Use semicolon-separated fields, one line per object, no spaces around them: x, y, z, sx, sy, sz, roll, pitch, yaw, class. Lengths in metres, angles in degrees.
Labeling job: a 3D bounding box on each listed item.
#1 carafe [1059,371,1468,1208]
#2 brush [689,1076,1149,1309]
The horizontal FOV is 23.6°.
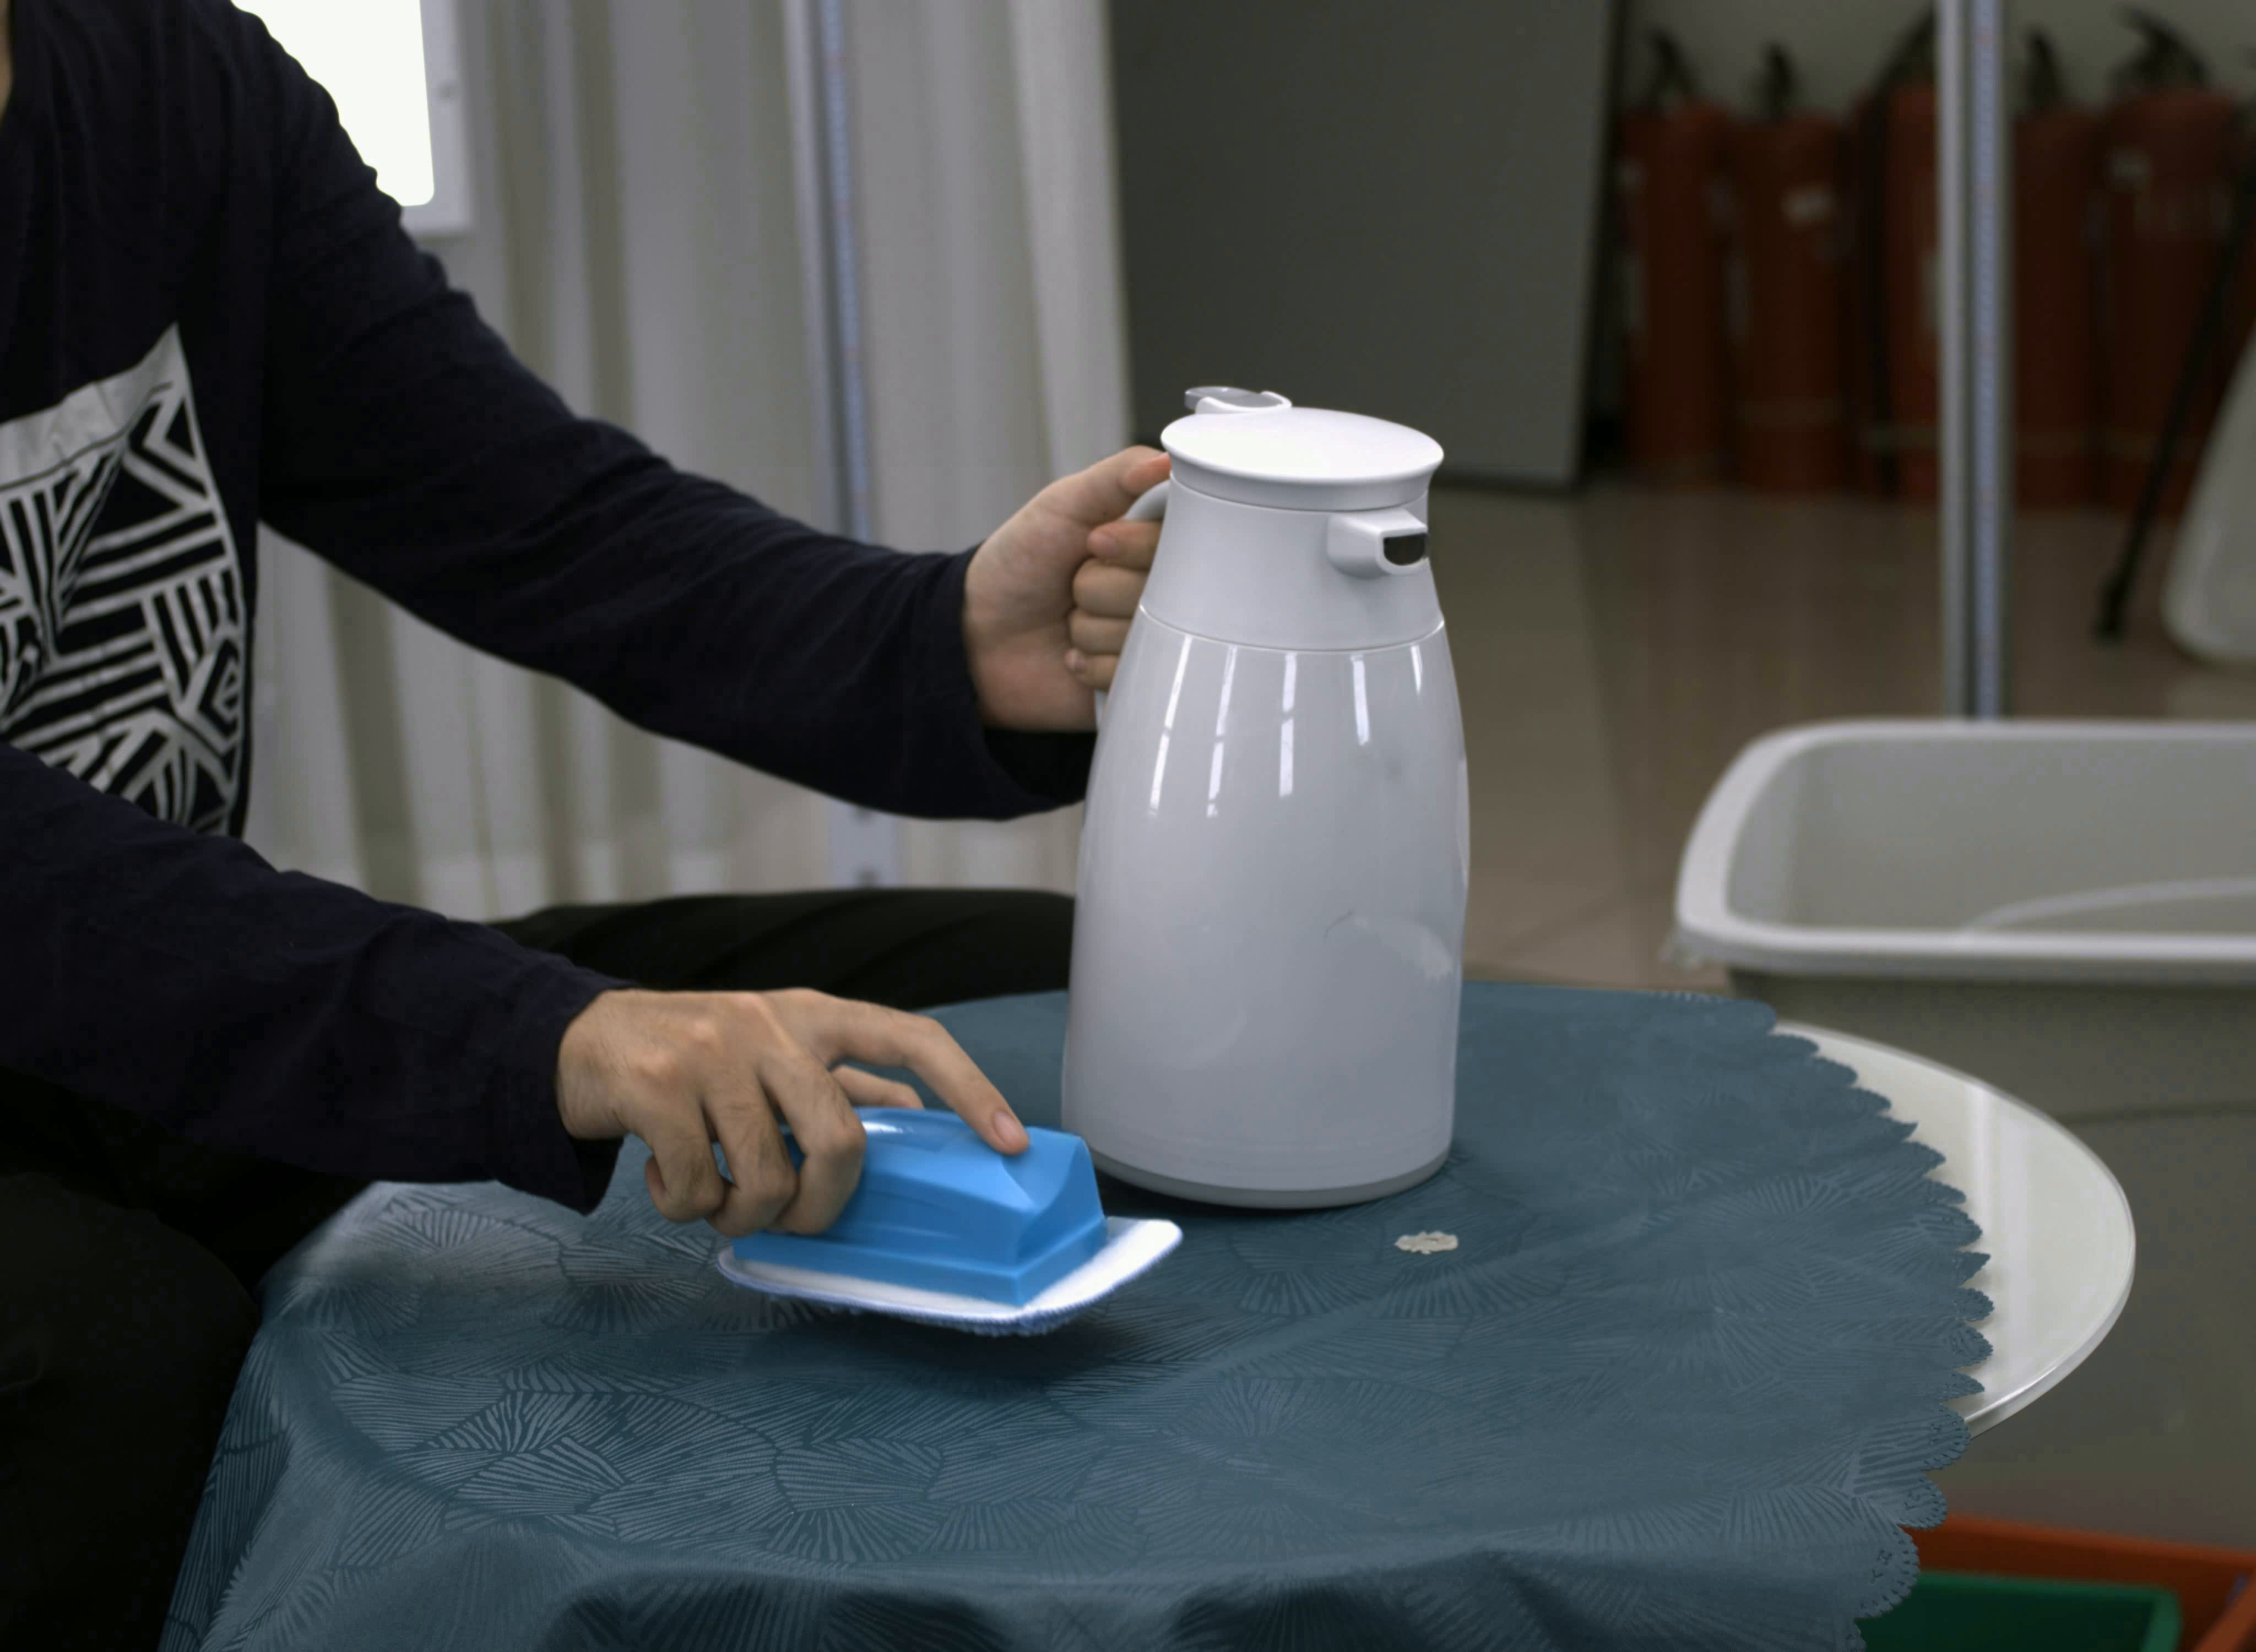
0.037;-0.020;1.774;0.129;0.251;0.169;-8;19;-32;carafe
-0.066;0.110;1.646;0.145;0.056;0.082;7;23;44;brush
